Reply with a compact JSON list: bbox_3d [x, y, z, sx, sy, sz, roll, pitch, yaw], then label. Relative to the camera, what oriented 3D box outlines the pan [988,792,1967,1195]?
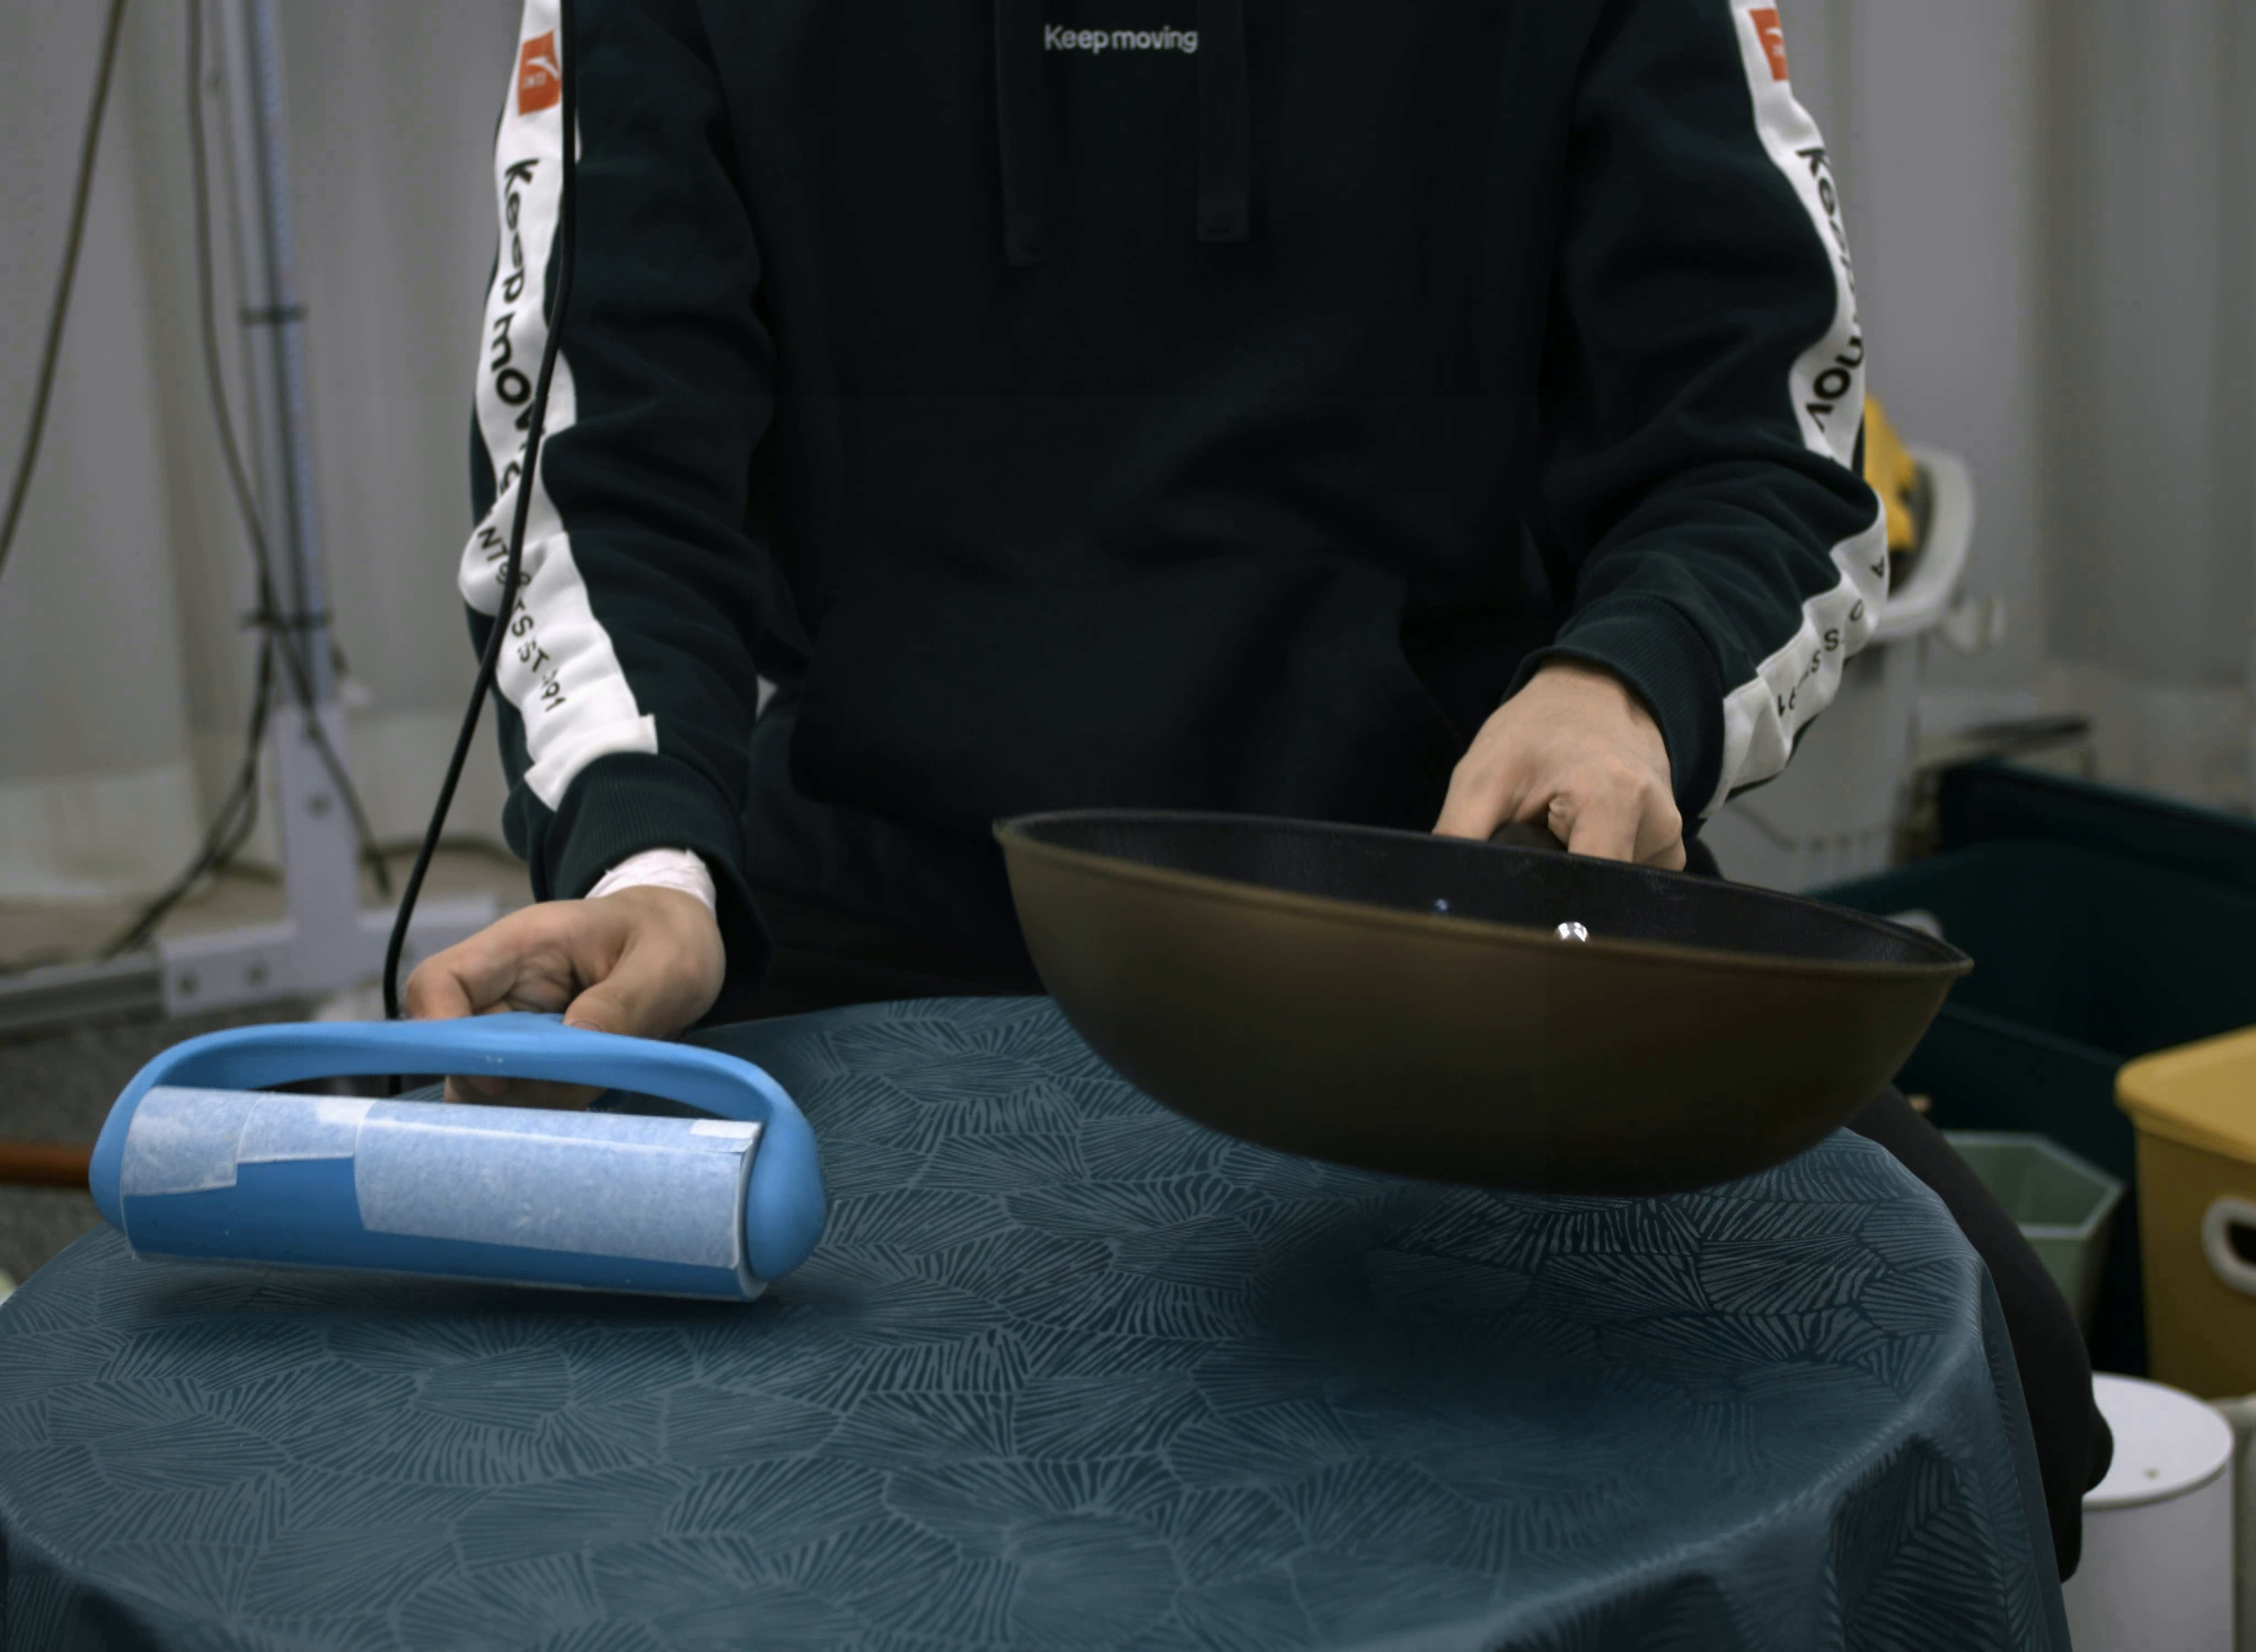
[{"bbox_3d":[0.109,0.047,1.676,0.288,0.087,0.463,10,4,9],"label":"pan"}]

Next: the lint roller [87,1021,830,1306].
[{"bbox_3d":[-0.193,0.091,1.694,0.228,0.067,0.181,0,19,9],"label":"lint roller"}]
